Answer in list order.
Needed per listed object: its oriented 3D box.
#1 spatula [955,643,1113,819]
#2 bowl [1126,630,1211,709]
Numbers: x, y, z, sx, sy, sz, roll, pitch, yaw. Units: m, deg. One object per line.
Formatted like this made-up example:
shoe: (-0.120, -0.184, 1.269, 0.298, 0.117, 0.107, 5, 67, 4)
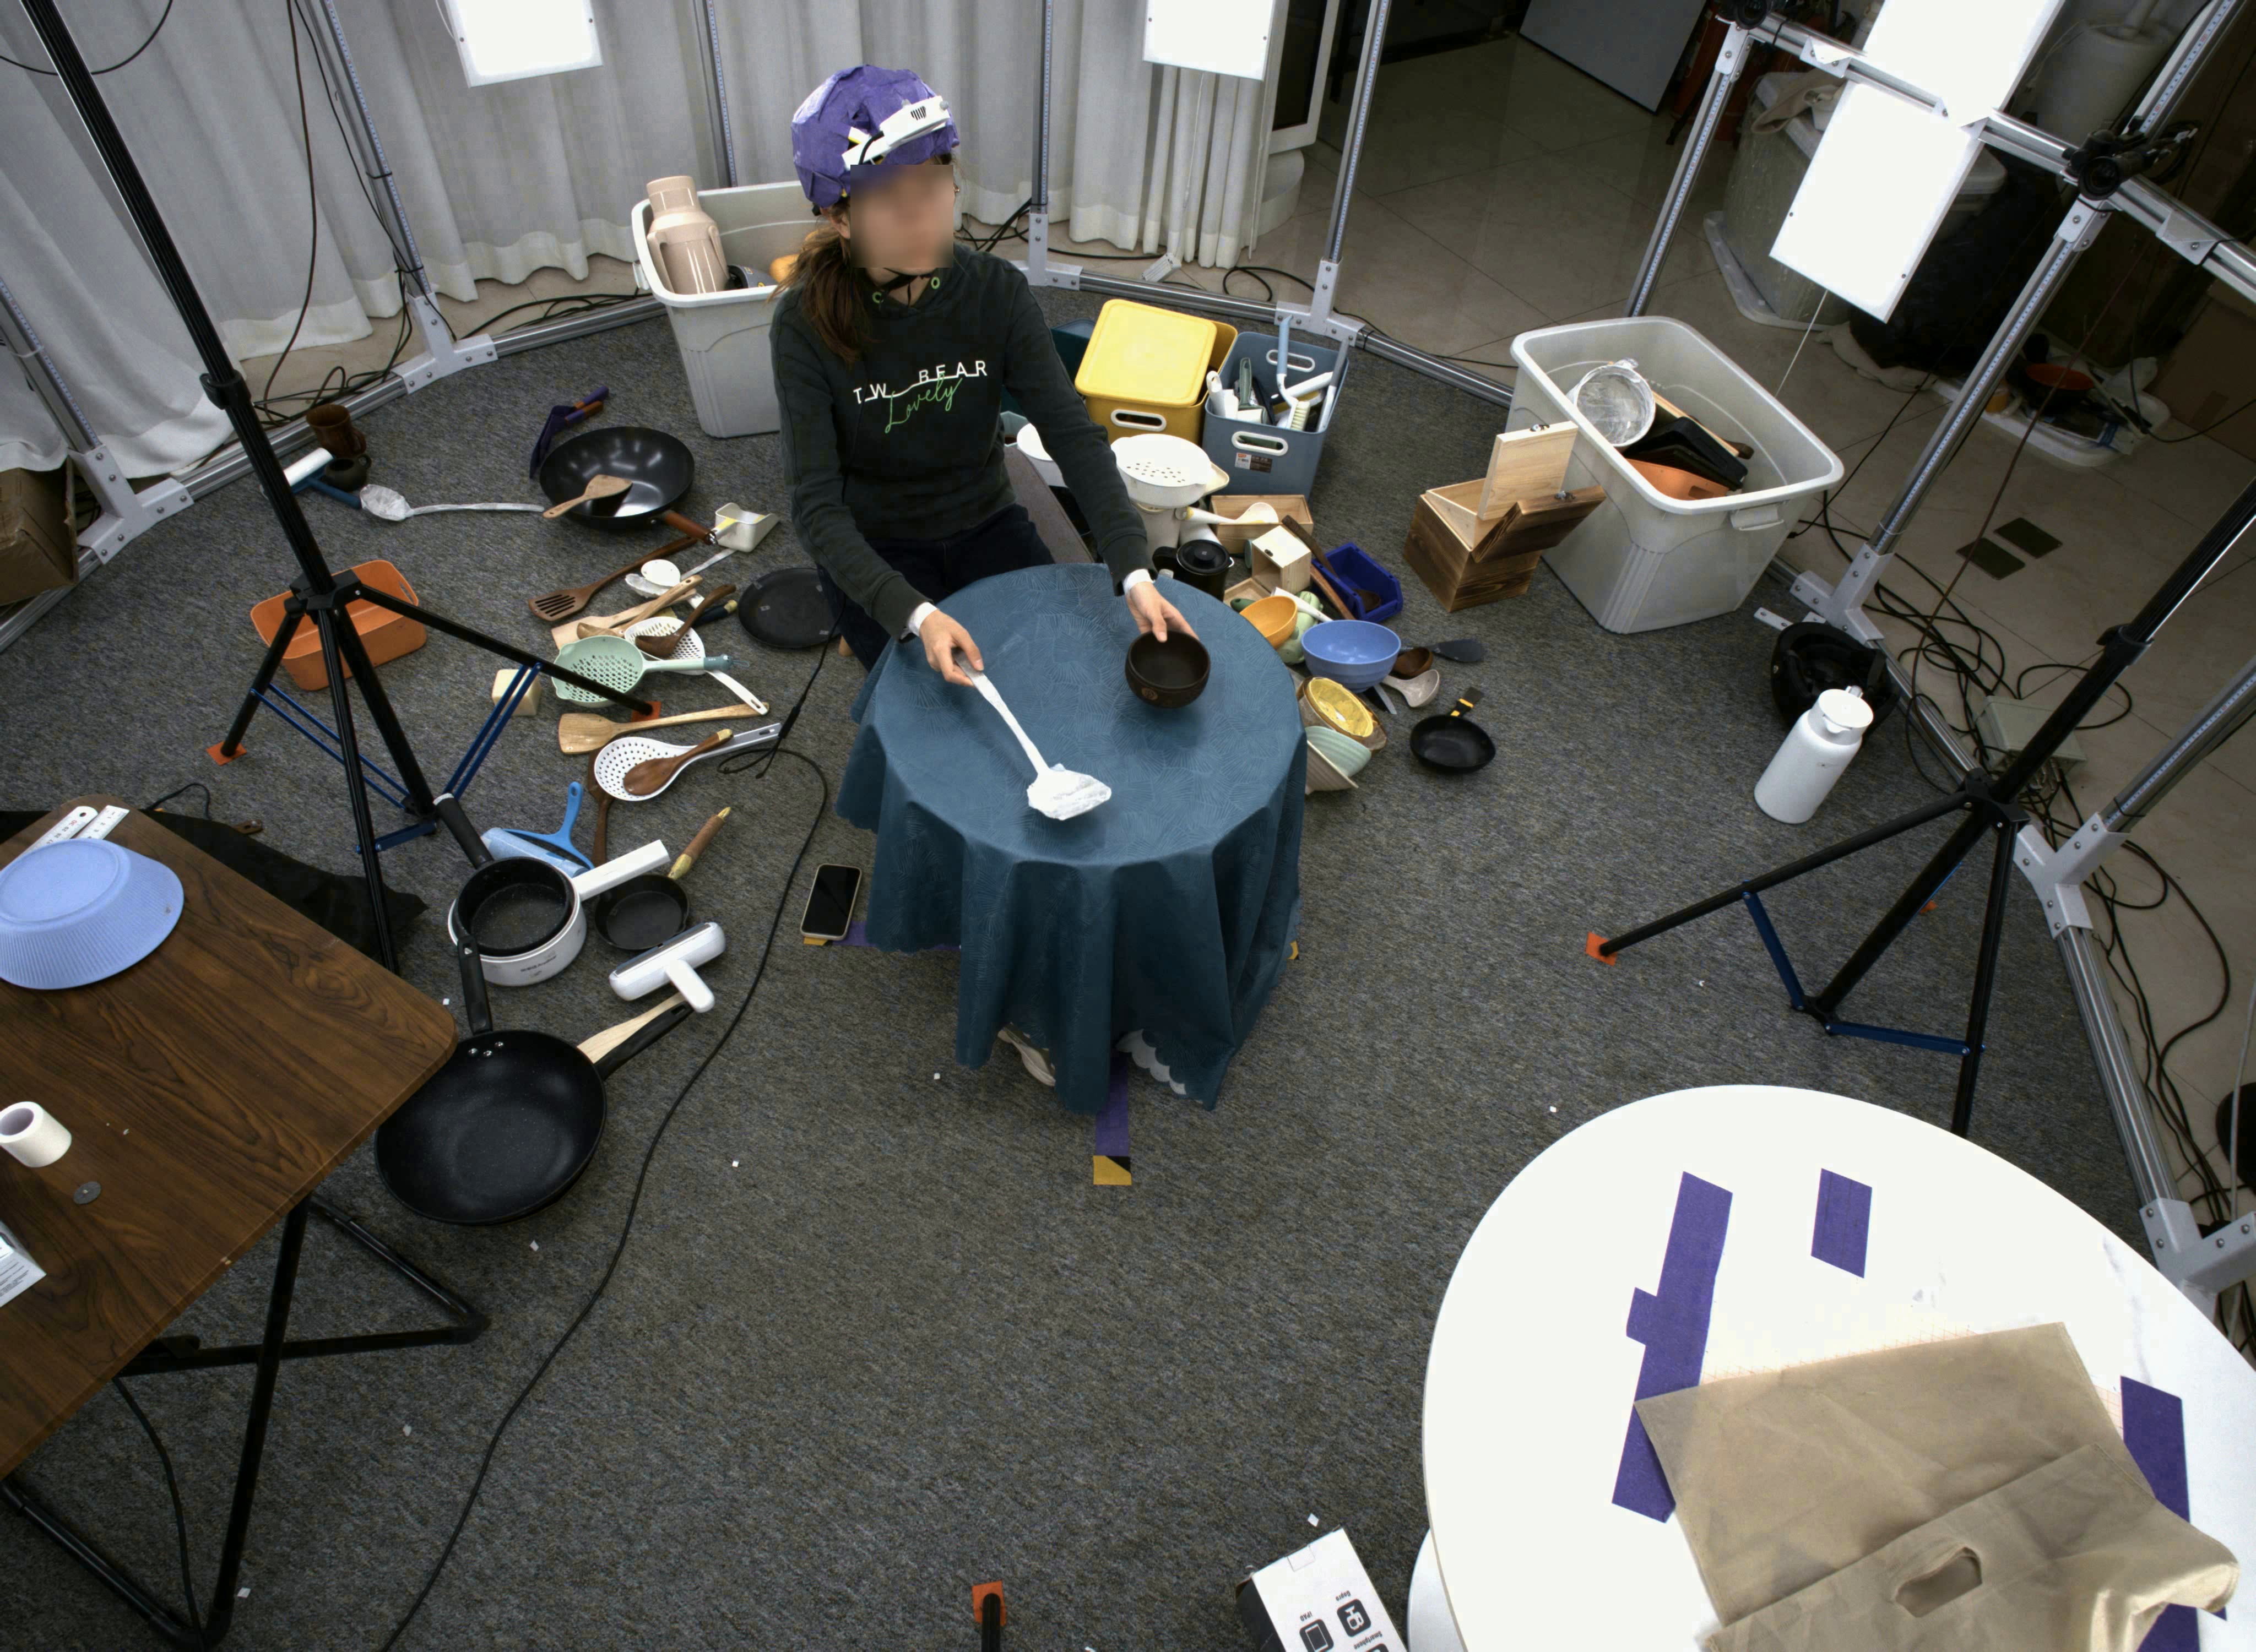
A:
spatula: (-0.148, -0.139, 1.727, 0.099, 0.044, 0.372, -23, 59, -23)
bowl: (0.054, -0.212, 1.801, 0.118, 0.068, 0.121, 4, 50, -5)
